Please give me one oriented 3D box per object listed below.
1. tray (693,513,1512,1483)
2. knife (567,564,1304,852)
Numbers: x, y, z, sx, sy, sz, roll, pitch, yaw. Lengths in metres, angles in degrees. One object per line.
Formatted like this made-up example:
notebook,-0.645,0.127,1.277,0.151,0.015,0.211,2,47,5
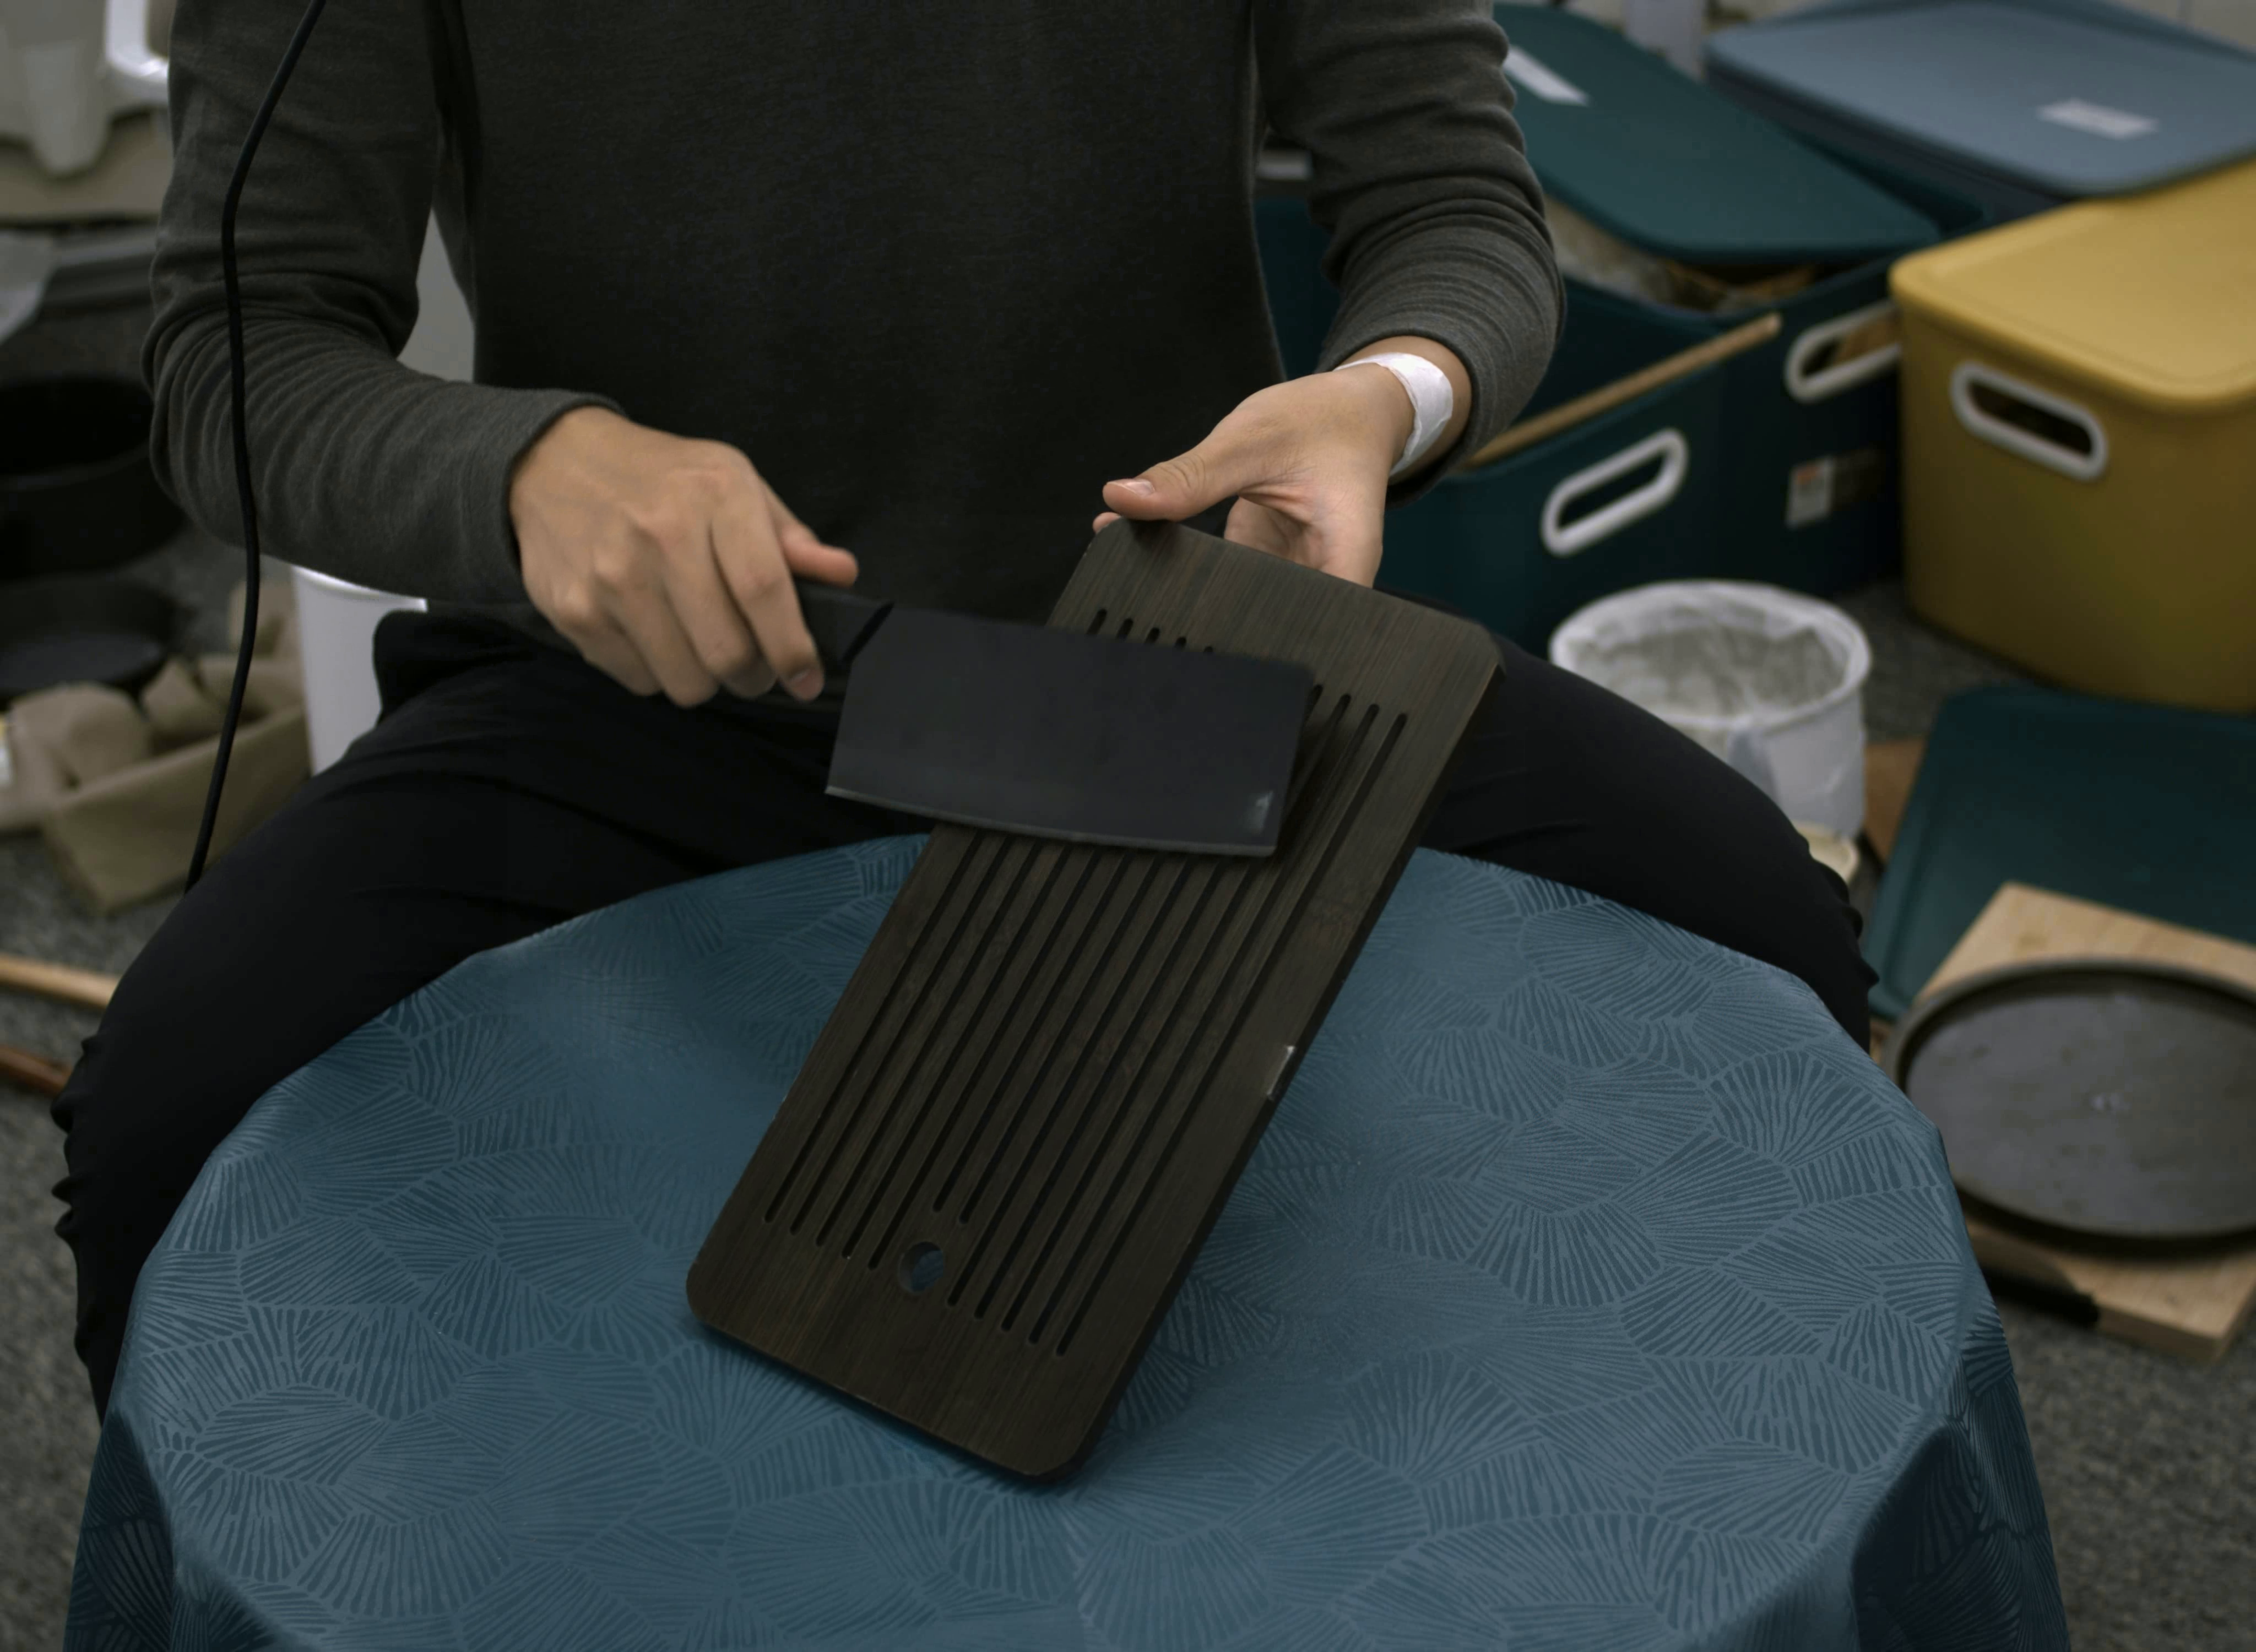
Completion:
tray,-0.007,0.050,1.786,0.169,0.018,0.309,19,73,38
knife,-0.069,-0.042,1.848,0.301,0.081,0.021,15,-4,35
